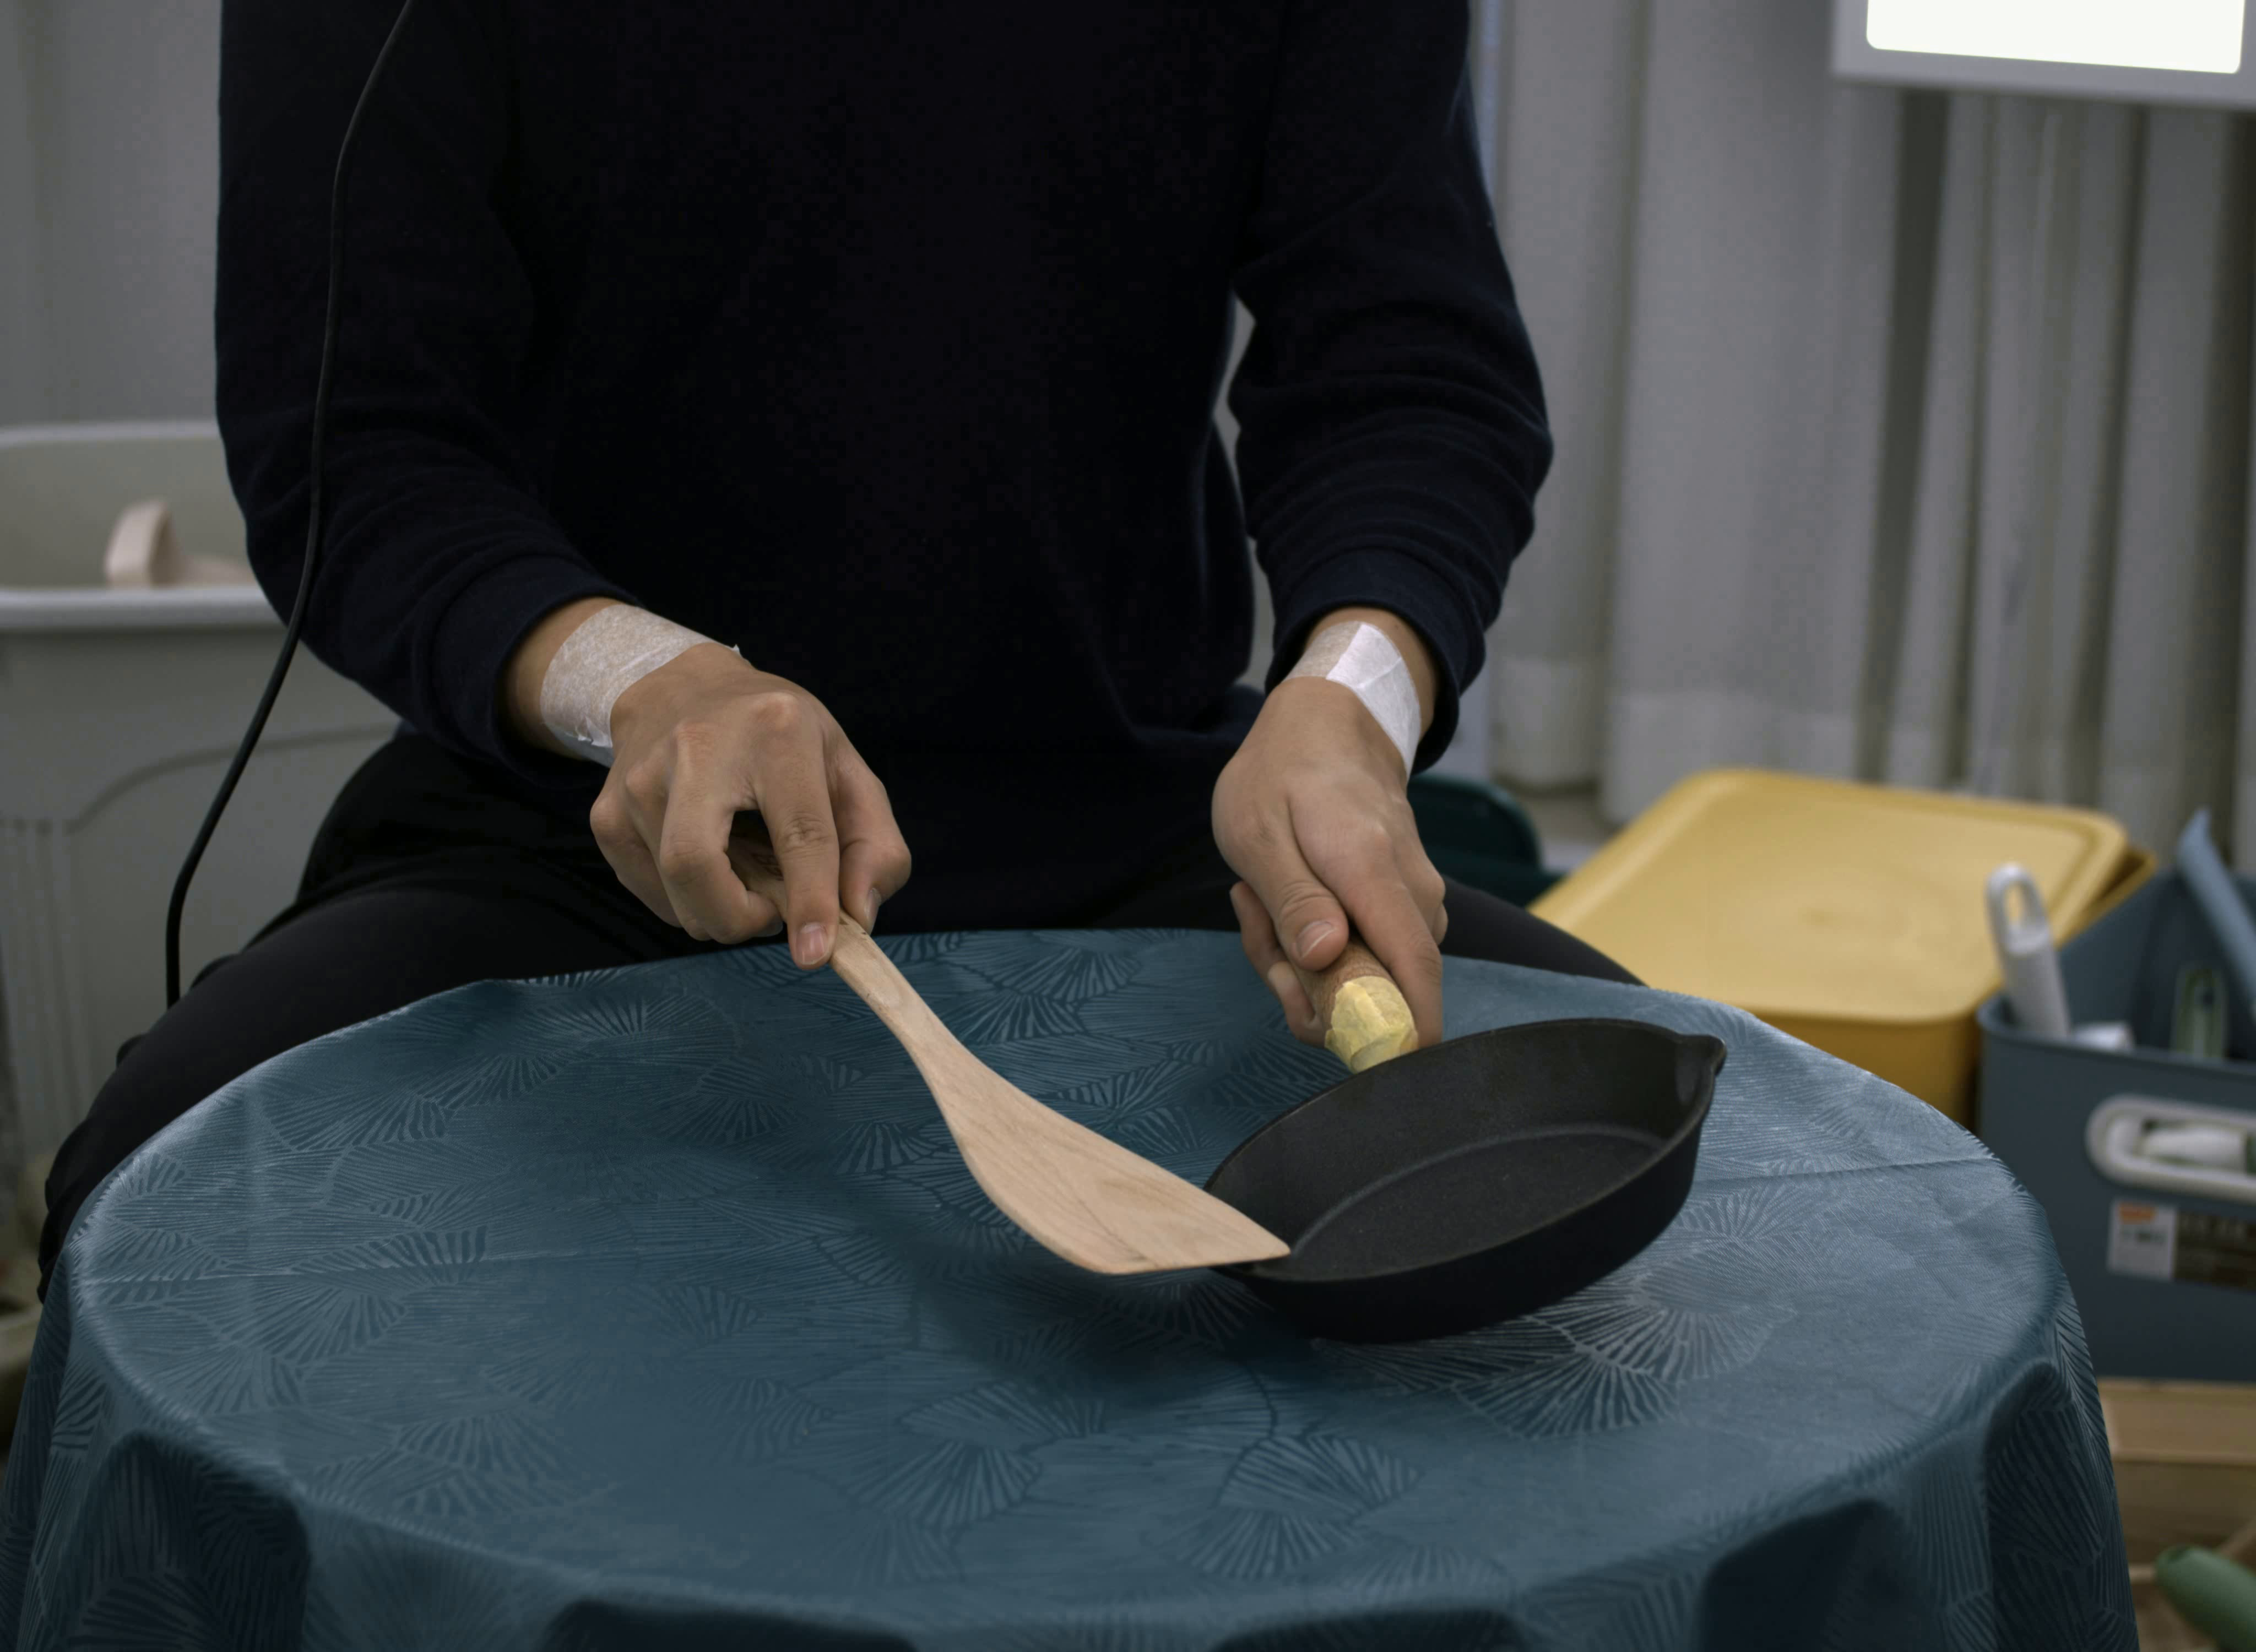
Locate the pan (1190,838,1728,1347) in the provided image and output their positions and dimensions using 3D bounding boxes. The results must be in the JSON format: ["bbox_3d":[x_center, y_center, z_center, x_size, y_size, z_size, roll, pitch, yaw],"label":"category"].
[{"bbox_3d":[0.084,0.074,1.600,0.168,0.050,0.321,-19,20,-2],"label":"pan"}]

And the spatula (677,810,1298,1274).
[{"bbox_3d":[-0.057,0.062,1.587,0.080,0.016,0.323,4,23,-35],"label":"spatula"}]
